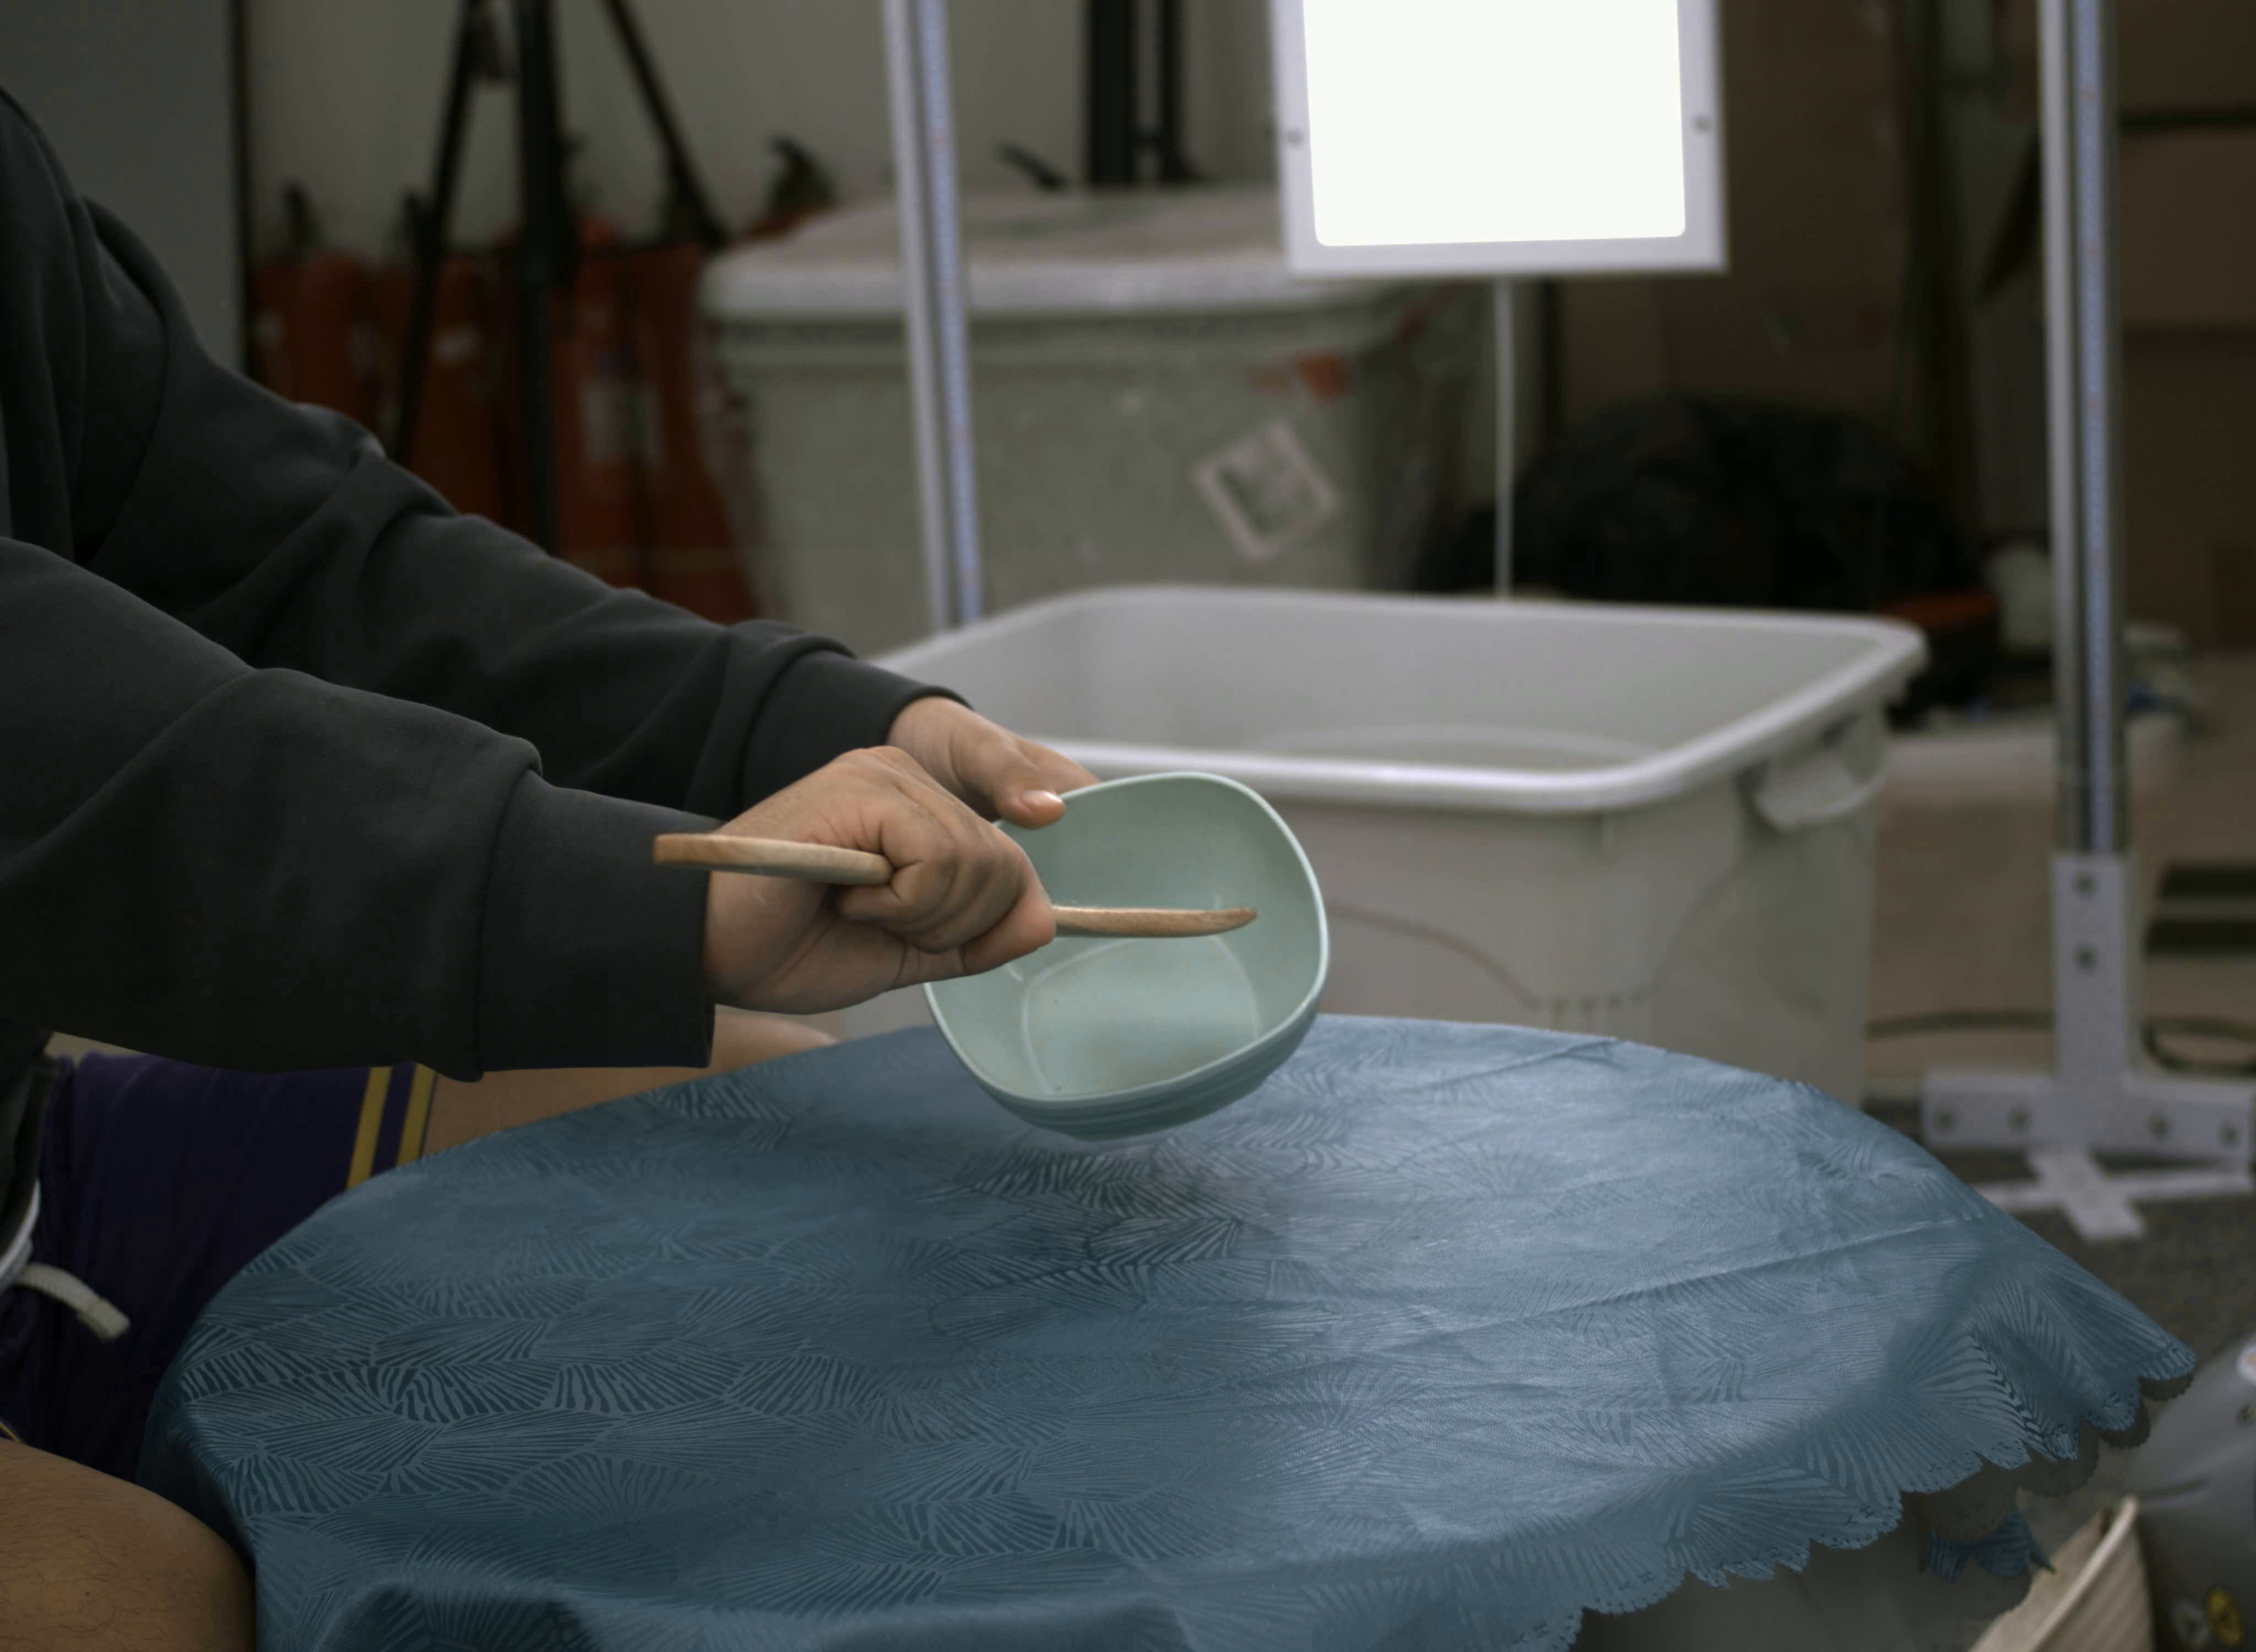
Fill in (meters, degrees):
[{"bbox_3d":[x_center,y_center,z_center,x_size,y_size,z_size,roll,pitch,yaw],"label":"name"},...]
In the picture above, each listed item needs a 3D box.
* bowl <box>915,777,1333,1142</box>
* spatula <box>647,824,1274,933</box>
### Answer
[{"bbox_3d":[0.001,0.055,1.880,0.151,0.059,0.151,-6,47,5],"label":"bowl"},{"bbox_3d":[-0.054,0.017,1.668,0.097,0.018,0.384,-1,-6,20],"label":"spatula"}]
